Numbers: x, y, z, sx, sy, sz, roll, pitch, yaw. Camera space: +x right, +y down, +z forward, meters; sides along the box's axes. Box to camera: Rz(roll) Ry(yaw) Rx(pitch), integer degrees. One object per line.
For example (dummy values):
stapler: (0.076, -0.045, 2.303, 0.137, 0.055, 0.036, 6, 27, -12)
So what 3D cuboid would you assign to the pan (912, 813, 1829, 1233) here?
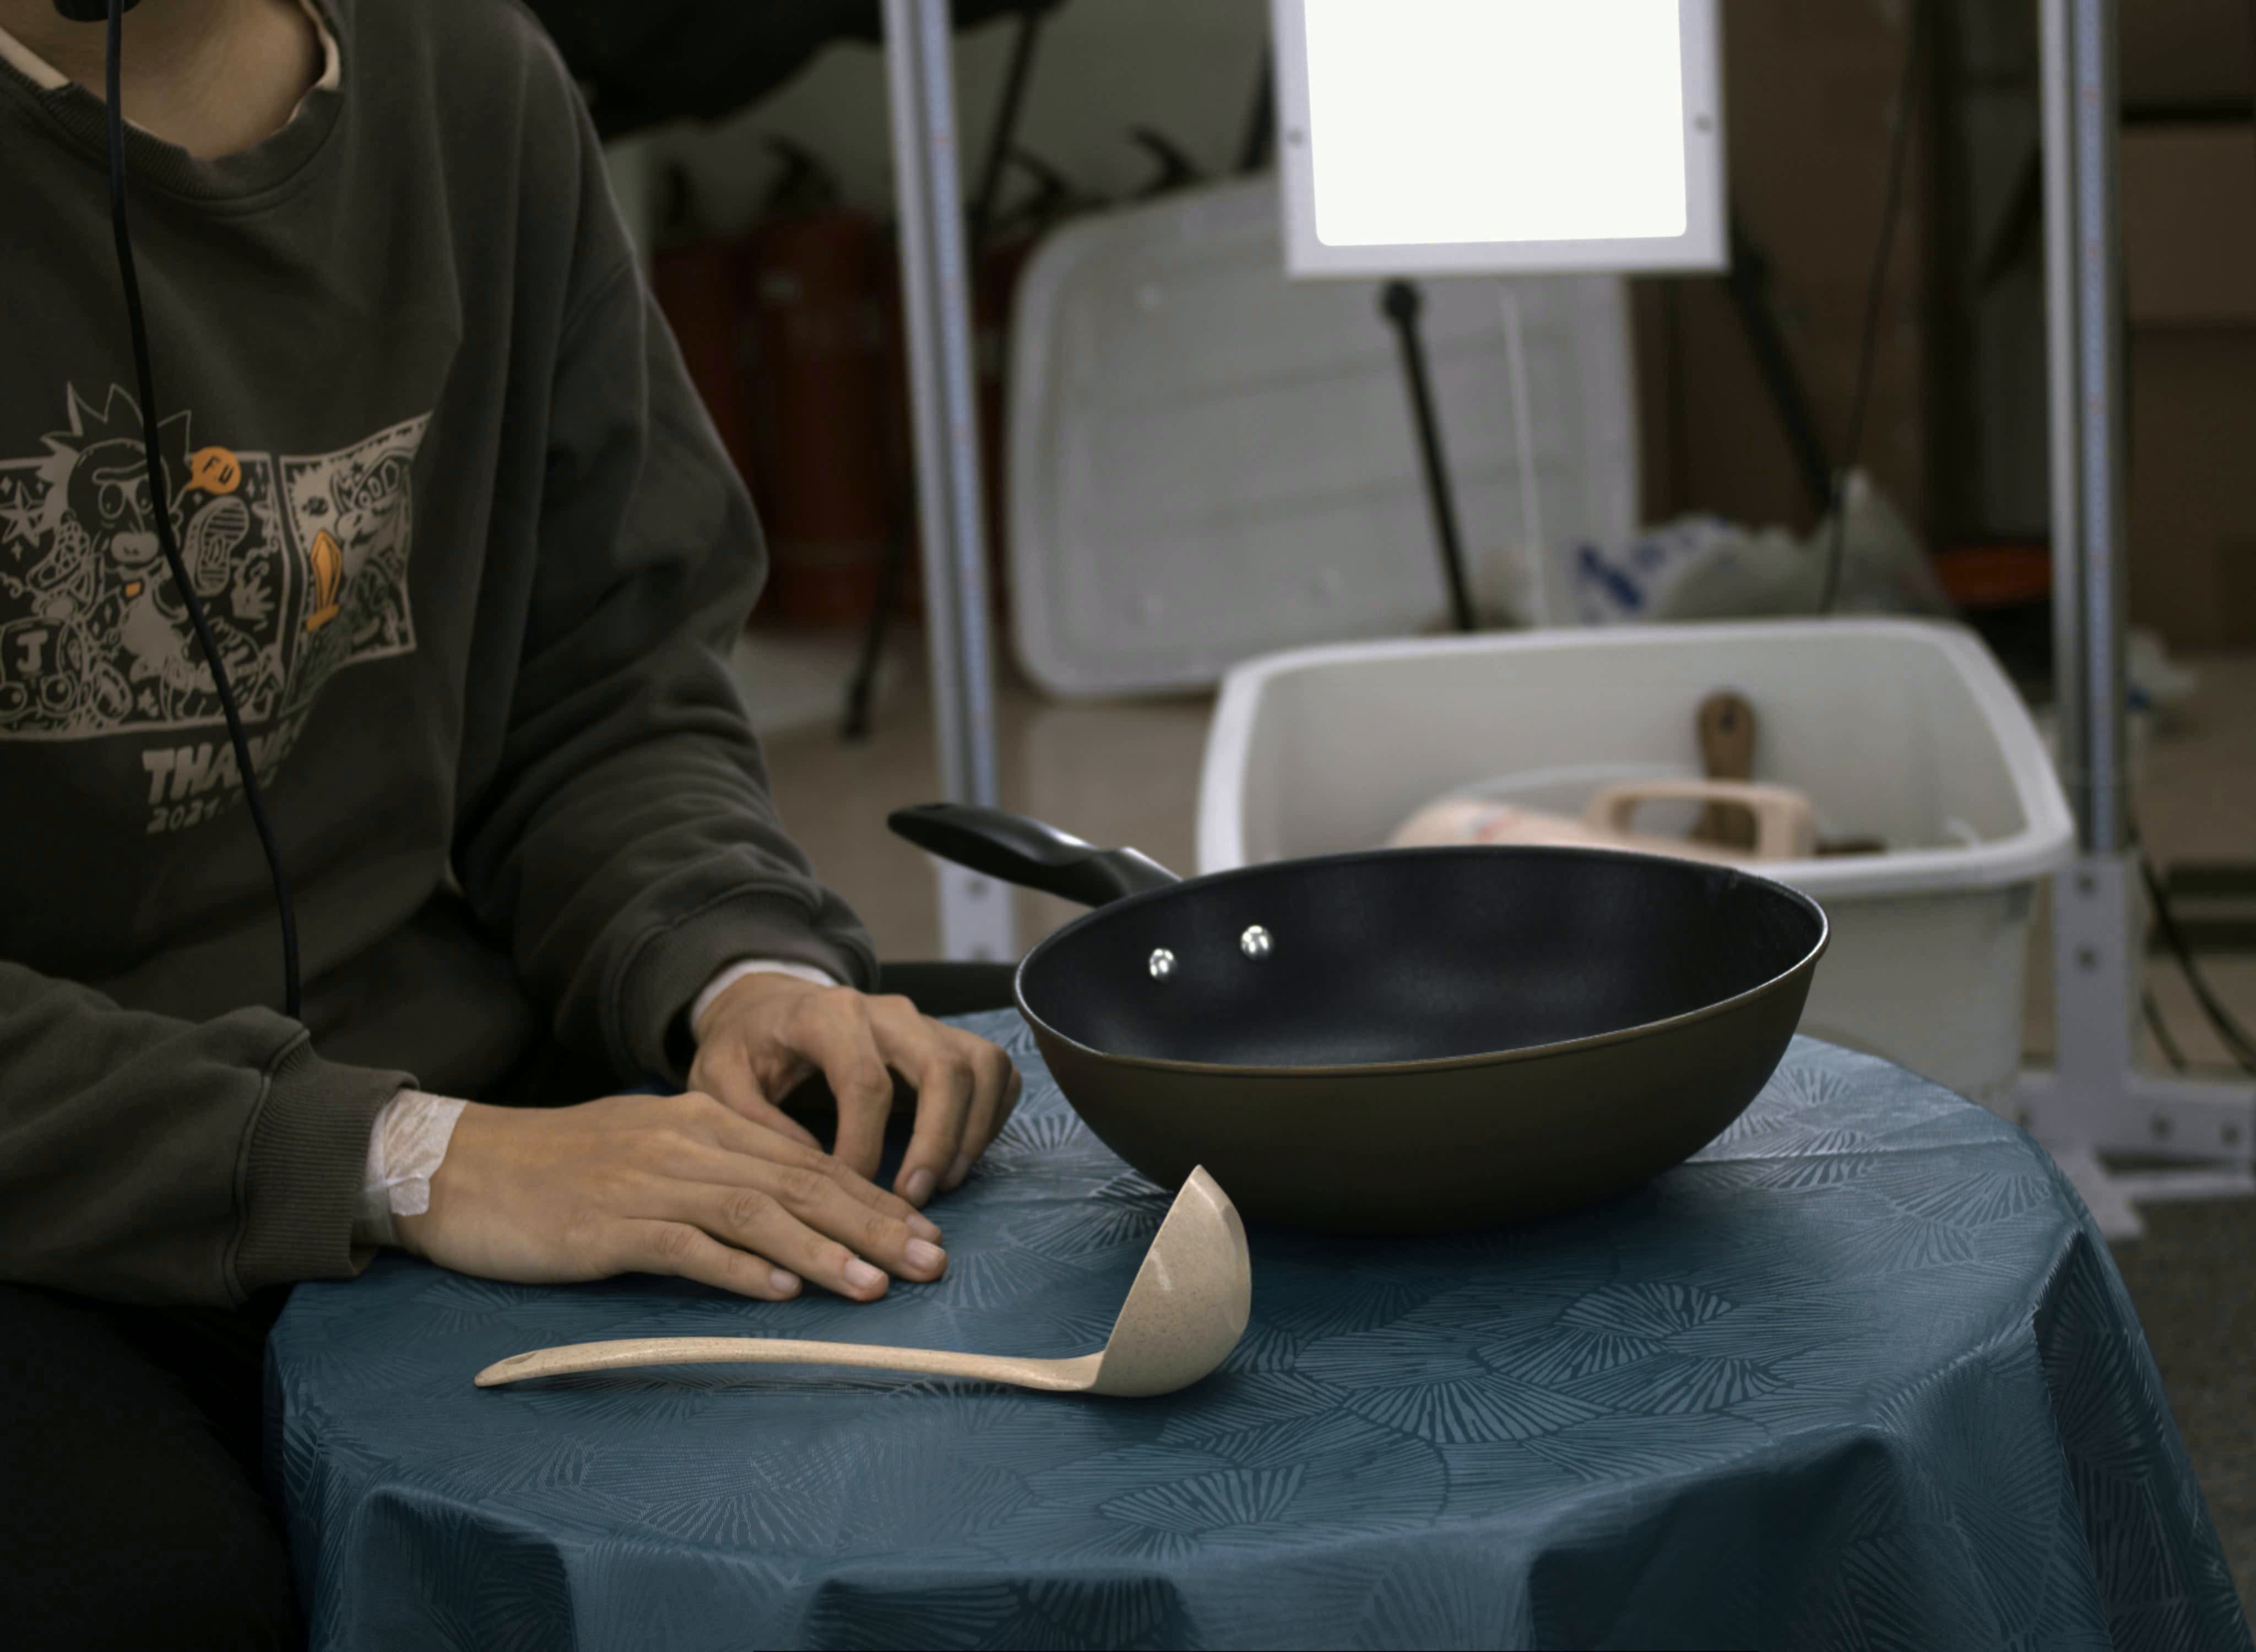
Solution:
pan: (0.050, 0.065, 1.955, 0.281, 0.087, 0.472, -14, 15, -31)

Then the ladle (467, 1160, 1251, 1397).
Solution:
ladle: (-0.089, 0.141, 1.716, 0.256, 0.073, 0.071, -1, 20, 14)
